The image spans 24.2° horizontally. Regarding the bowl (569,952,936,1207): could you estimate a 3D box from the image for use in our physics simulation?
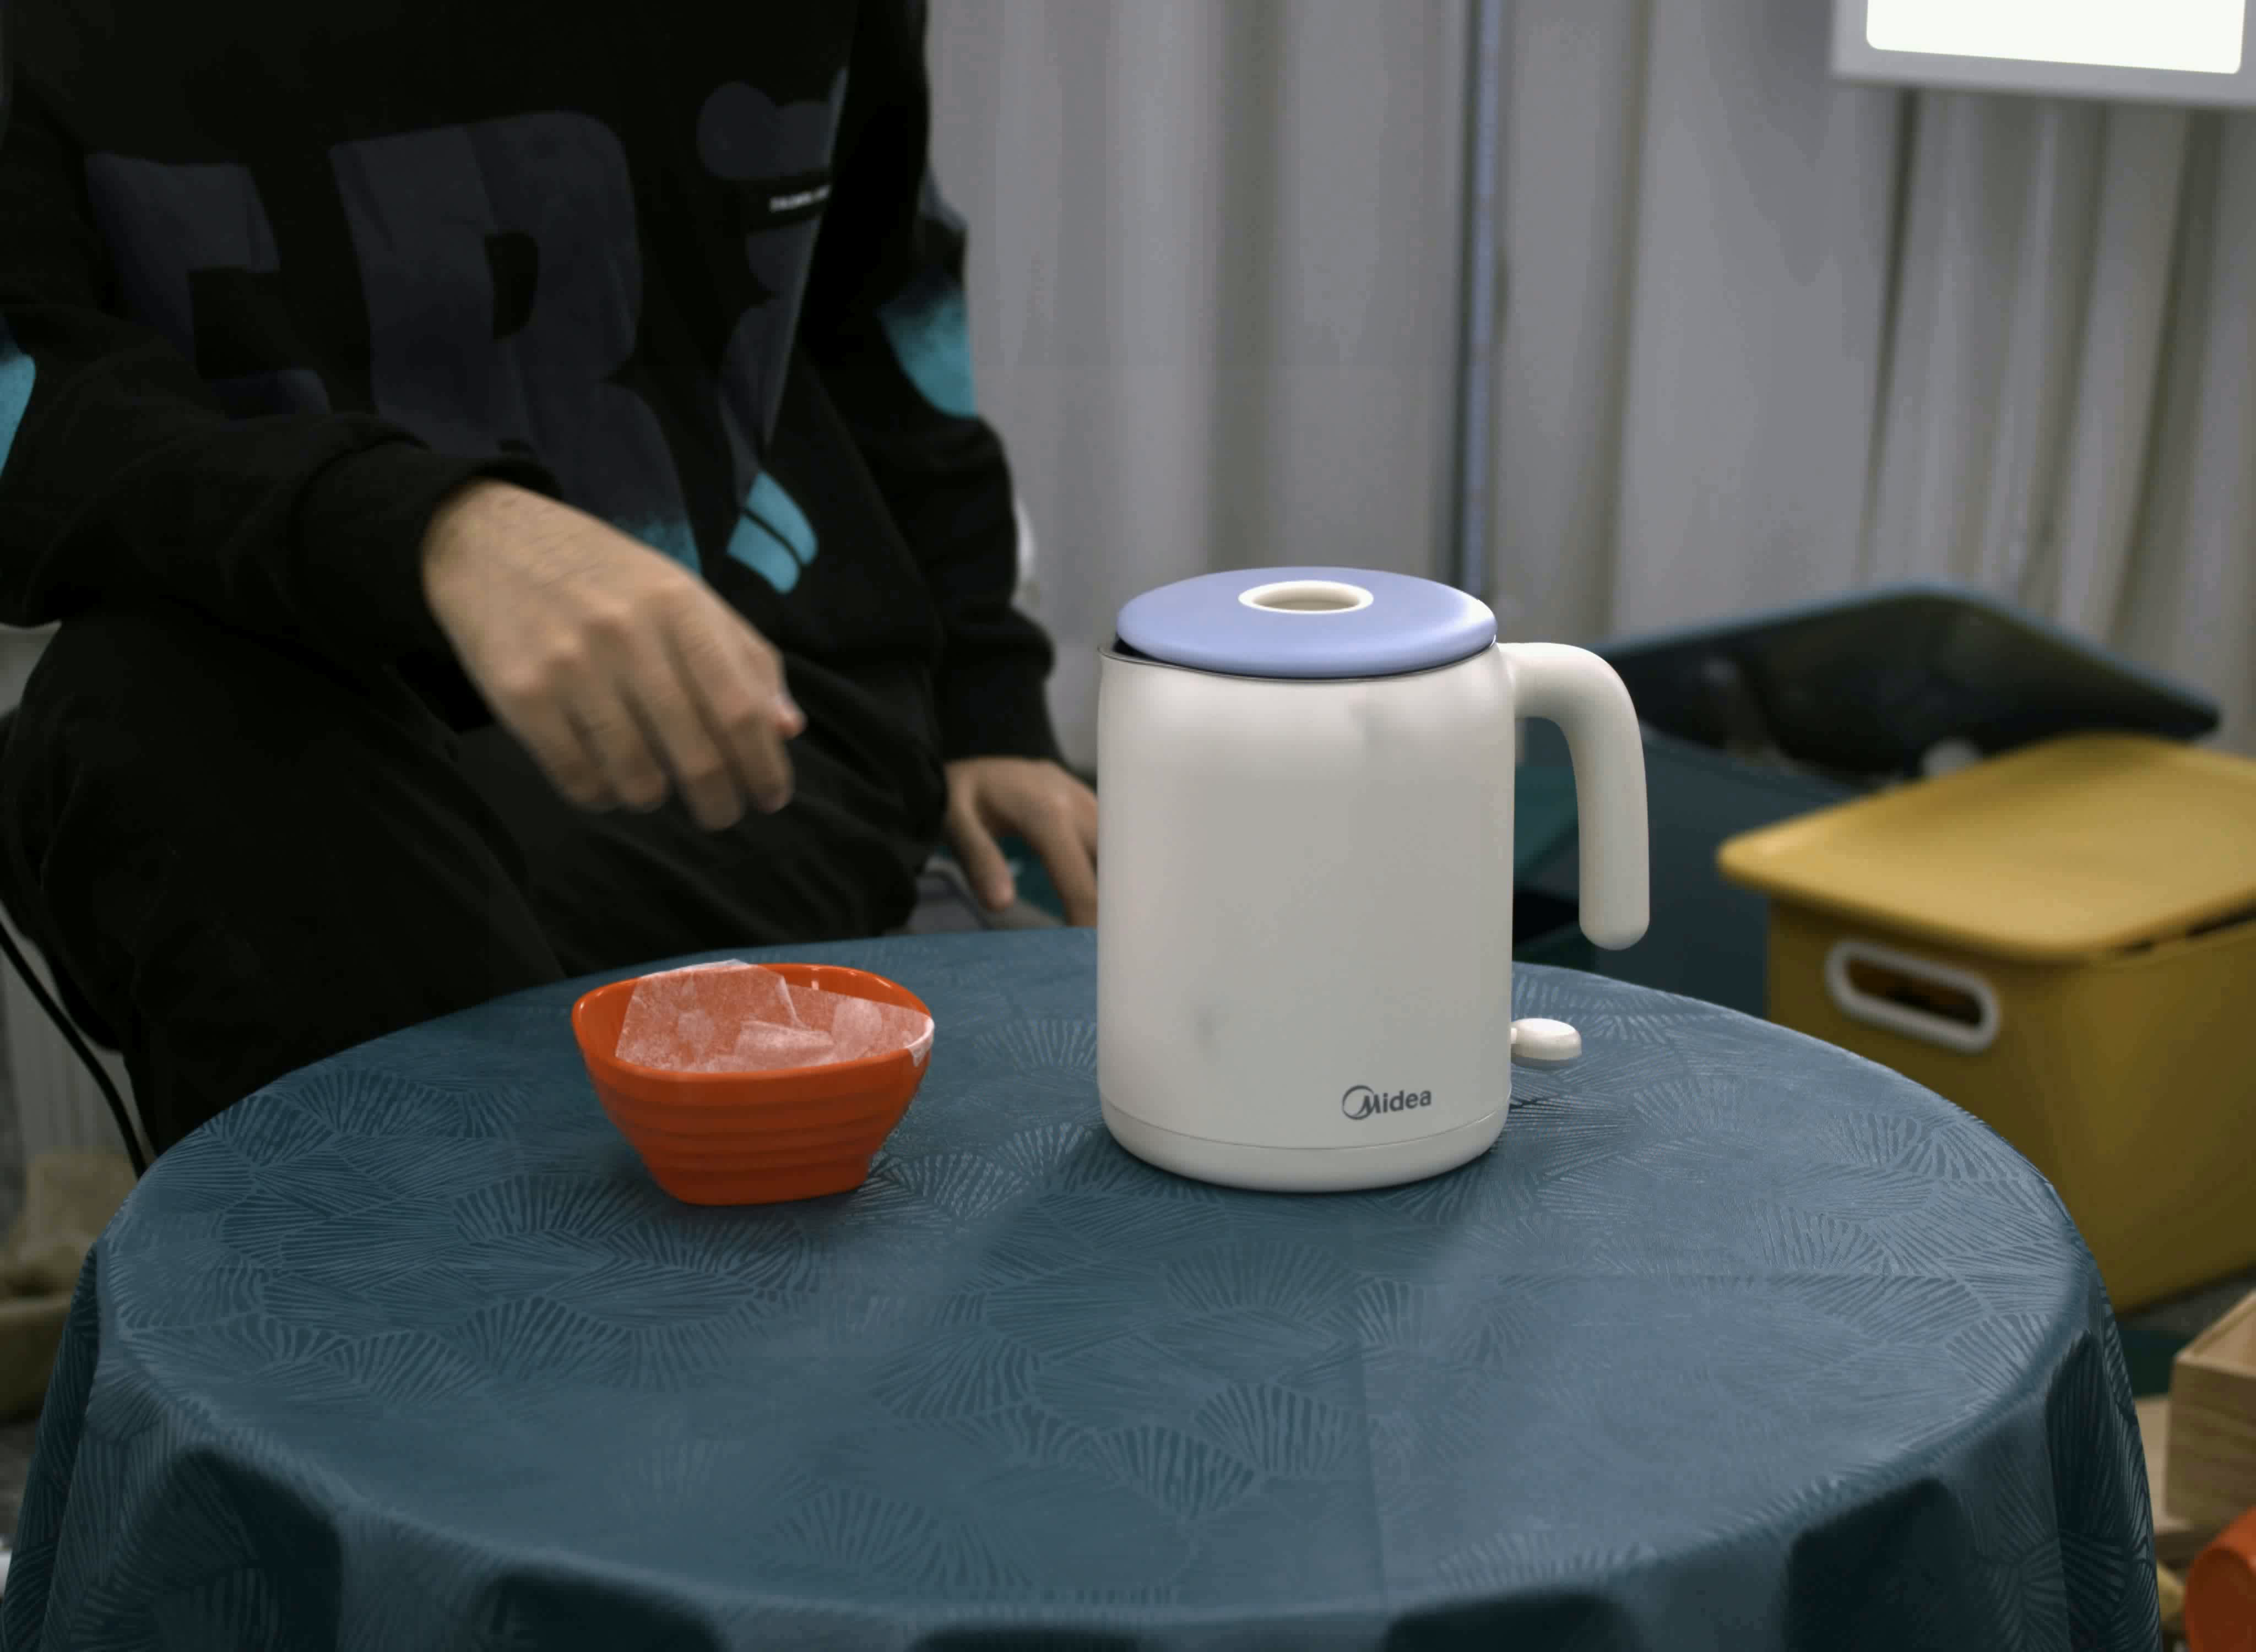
[{"bbox_3d":[-0.116,0.081,1.629,0.118,0.052,0.118,0,18,1],"label":"bowl"}]

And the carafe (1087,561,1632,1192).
[{"bbox_3d":[0.076,0.013,1.660,0.192,0.184,0.130,-4,18,-24],"label":"carafe"}]
